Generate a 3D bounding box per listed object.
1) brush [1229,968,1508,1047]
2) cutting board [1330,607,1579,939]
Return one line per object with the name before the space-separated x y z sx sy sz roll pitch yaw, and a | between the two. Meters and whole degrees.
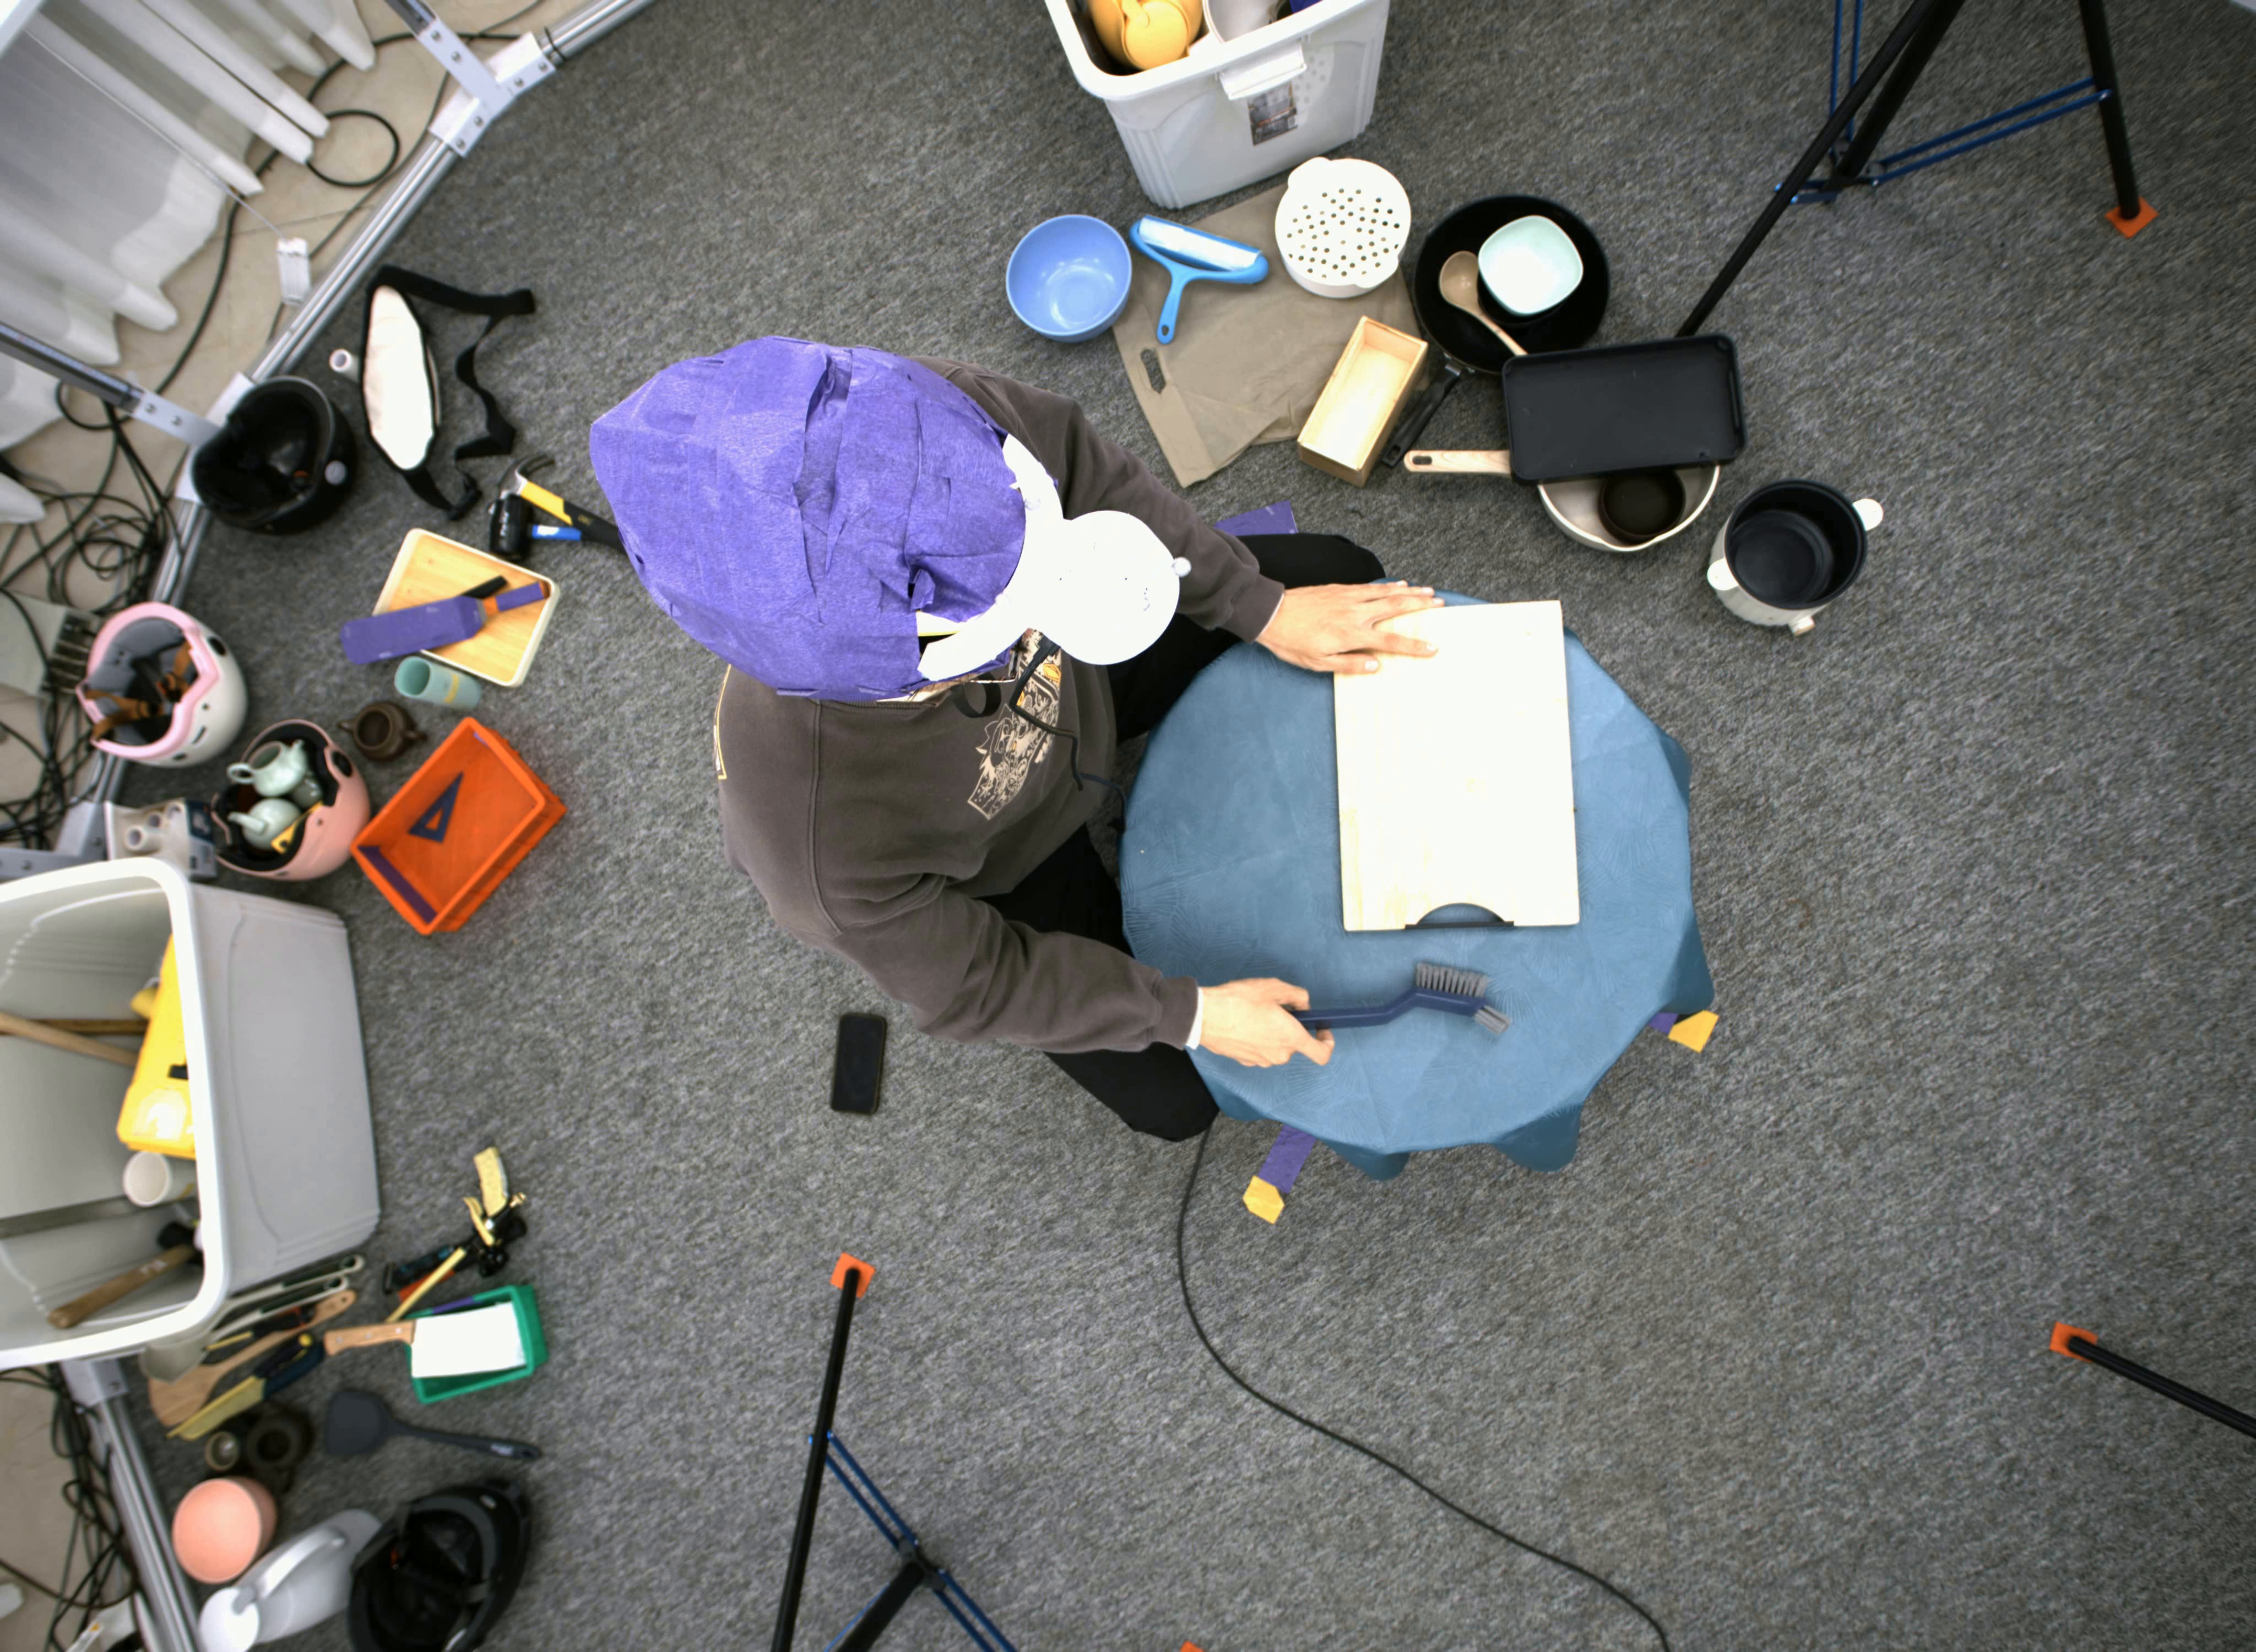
brush | 0.242 0.198 1.410 0.273 0.034 0.093 -10 61 -2
cutting board | 0.340 -0.059 1.443 0.252 0.023 0.347 -3 87 11
